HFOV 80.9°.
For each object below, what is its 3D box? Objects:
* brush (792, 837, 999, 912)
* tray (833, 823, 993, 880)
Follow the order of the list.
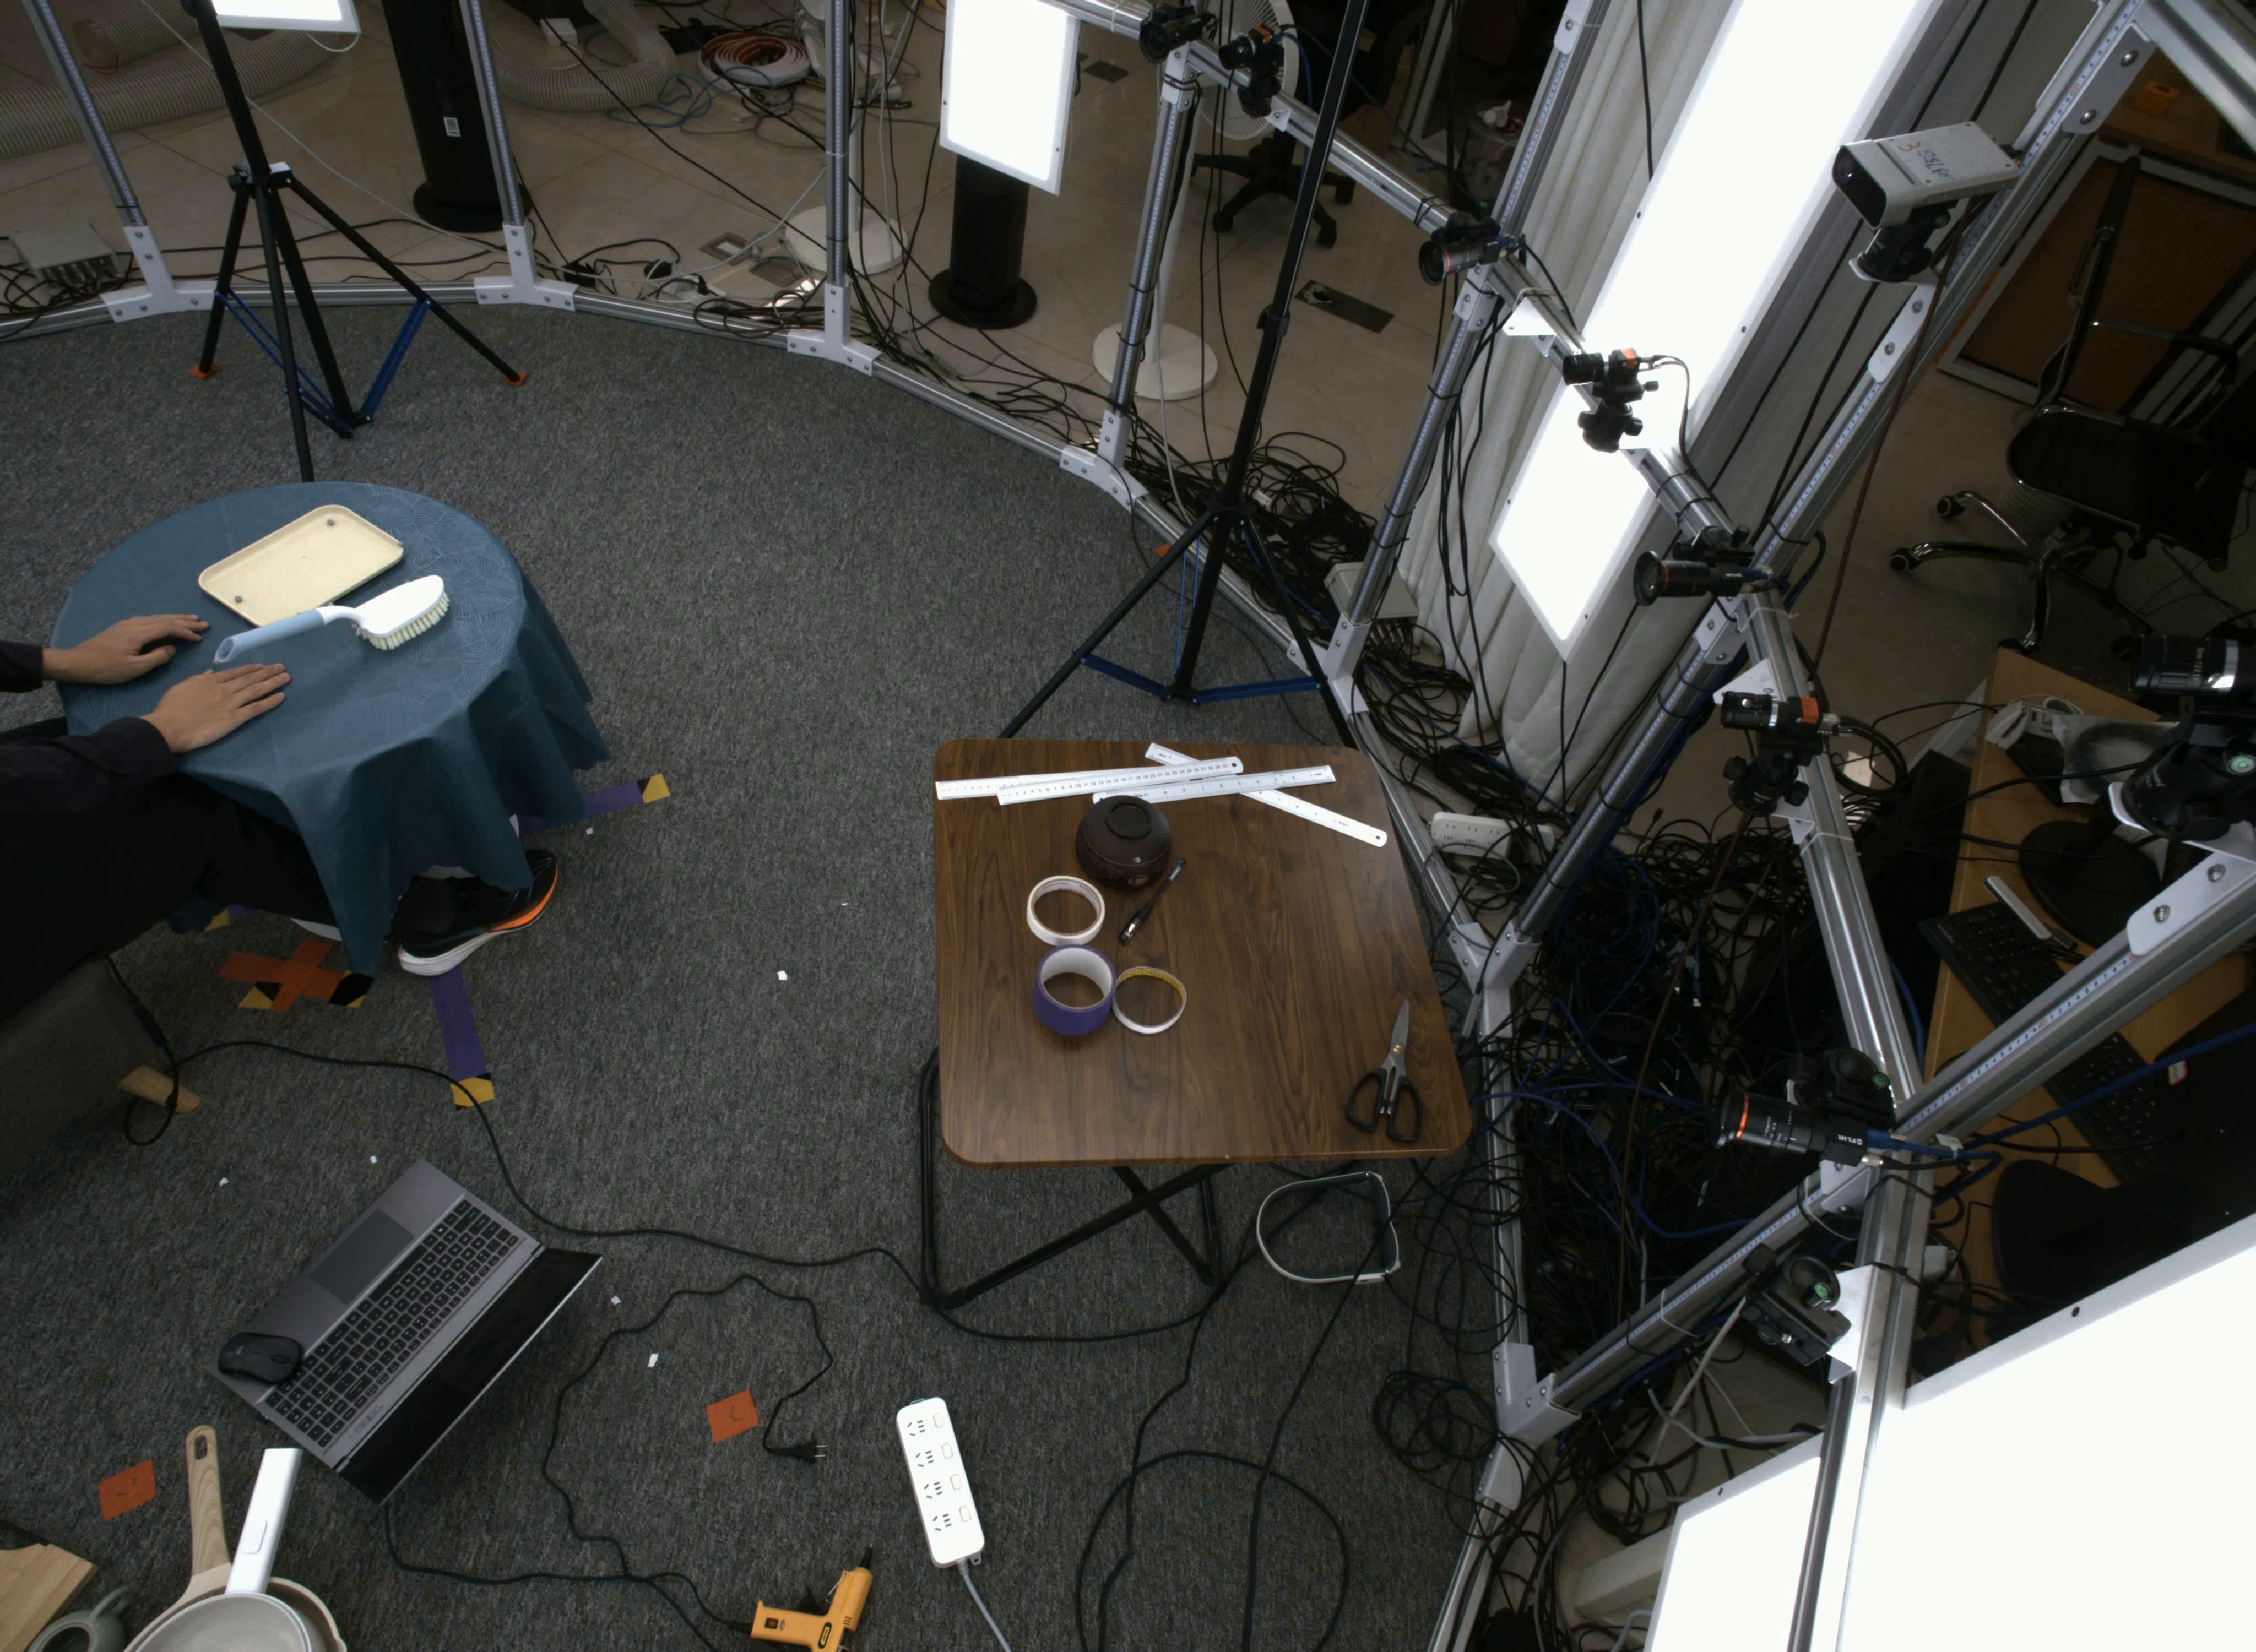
[{"bbox_3d":[-0.349,0.082,1.958,0.331,0.084,0.082,9,-17,-28],"label":"brush"},{"bbox_3d":[-0.354,0.040,2.141,0.242,0.018,0.165,-5,26,-28],"label":"tray"}]
